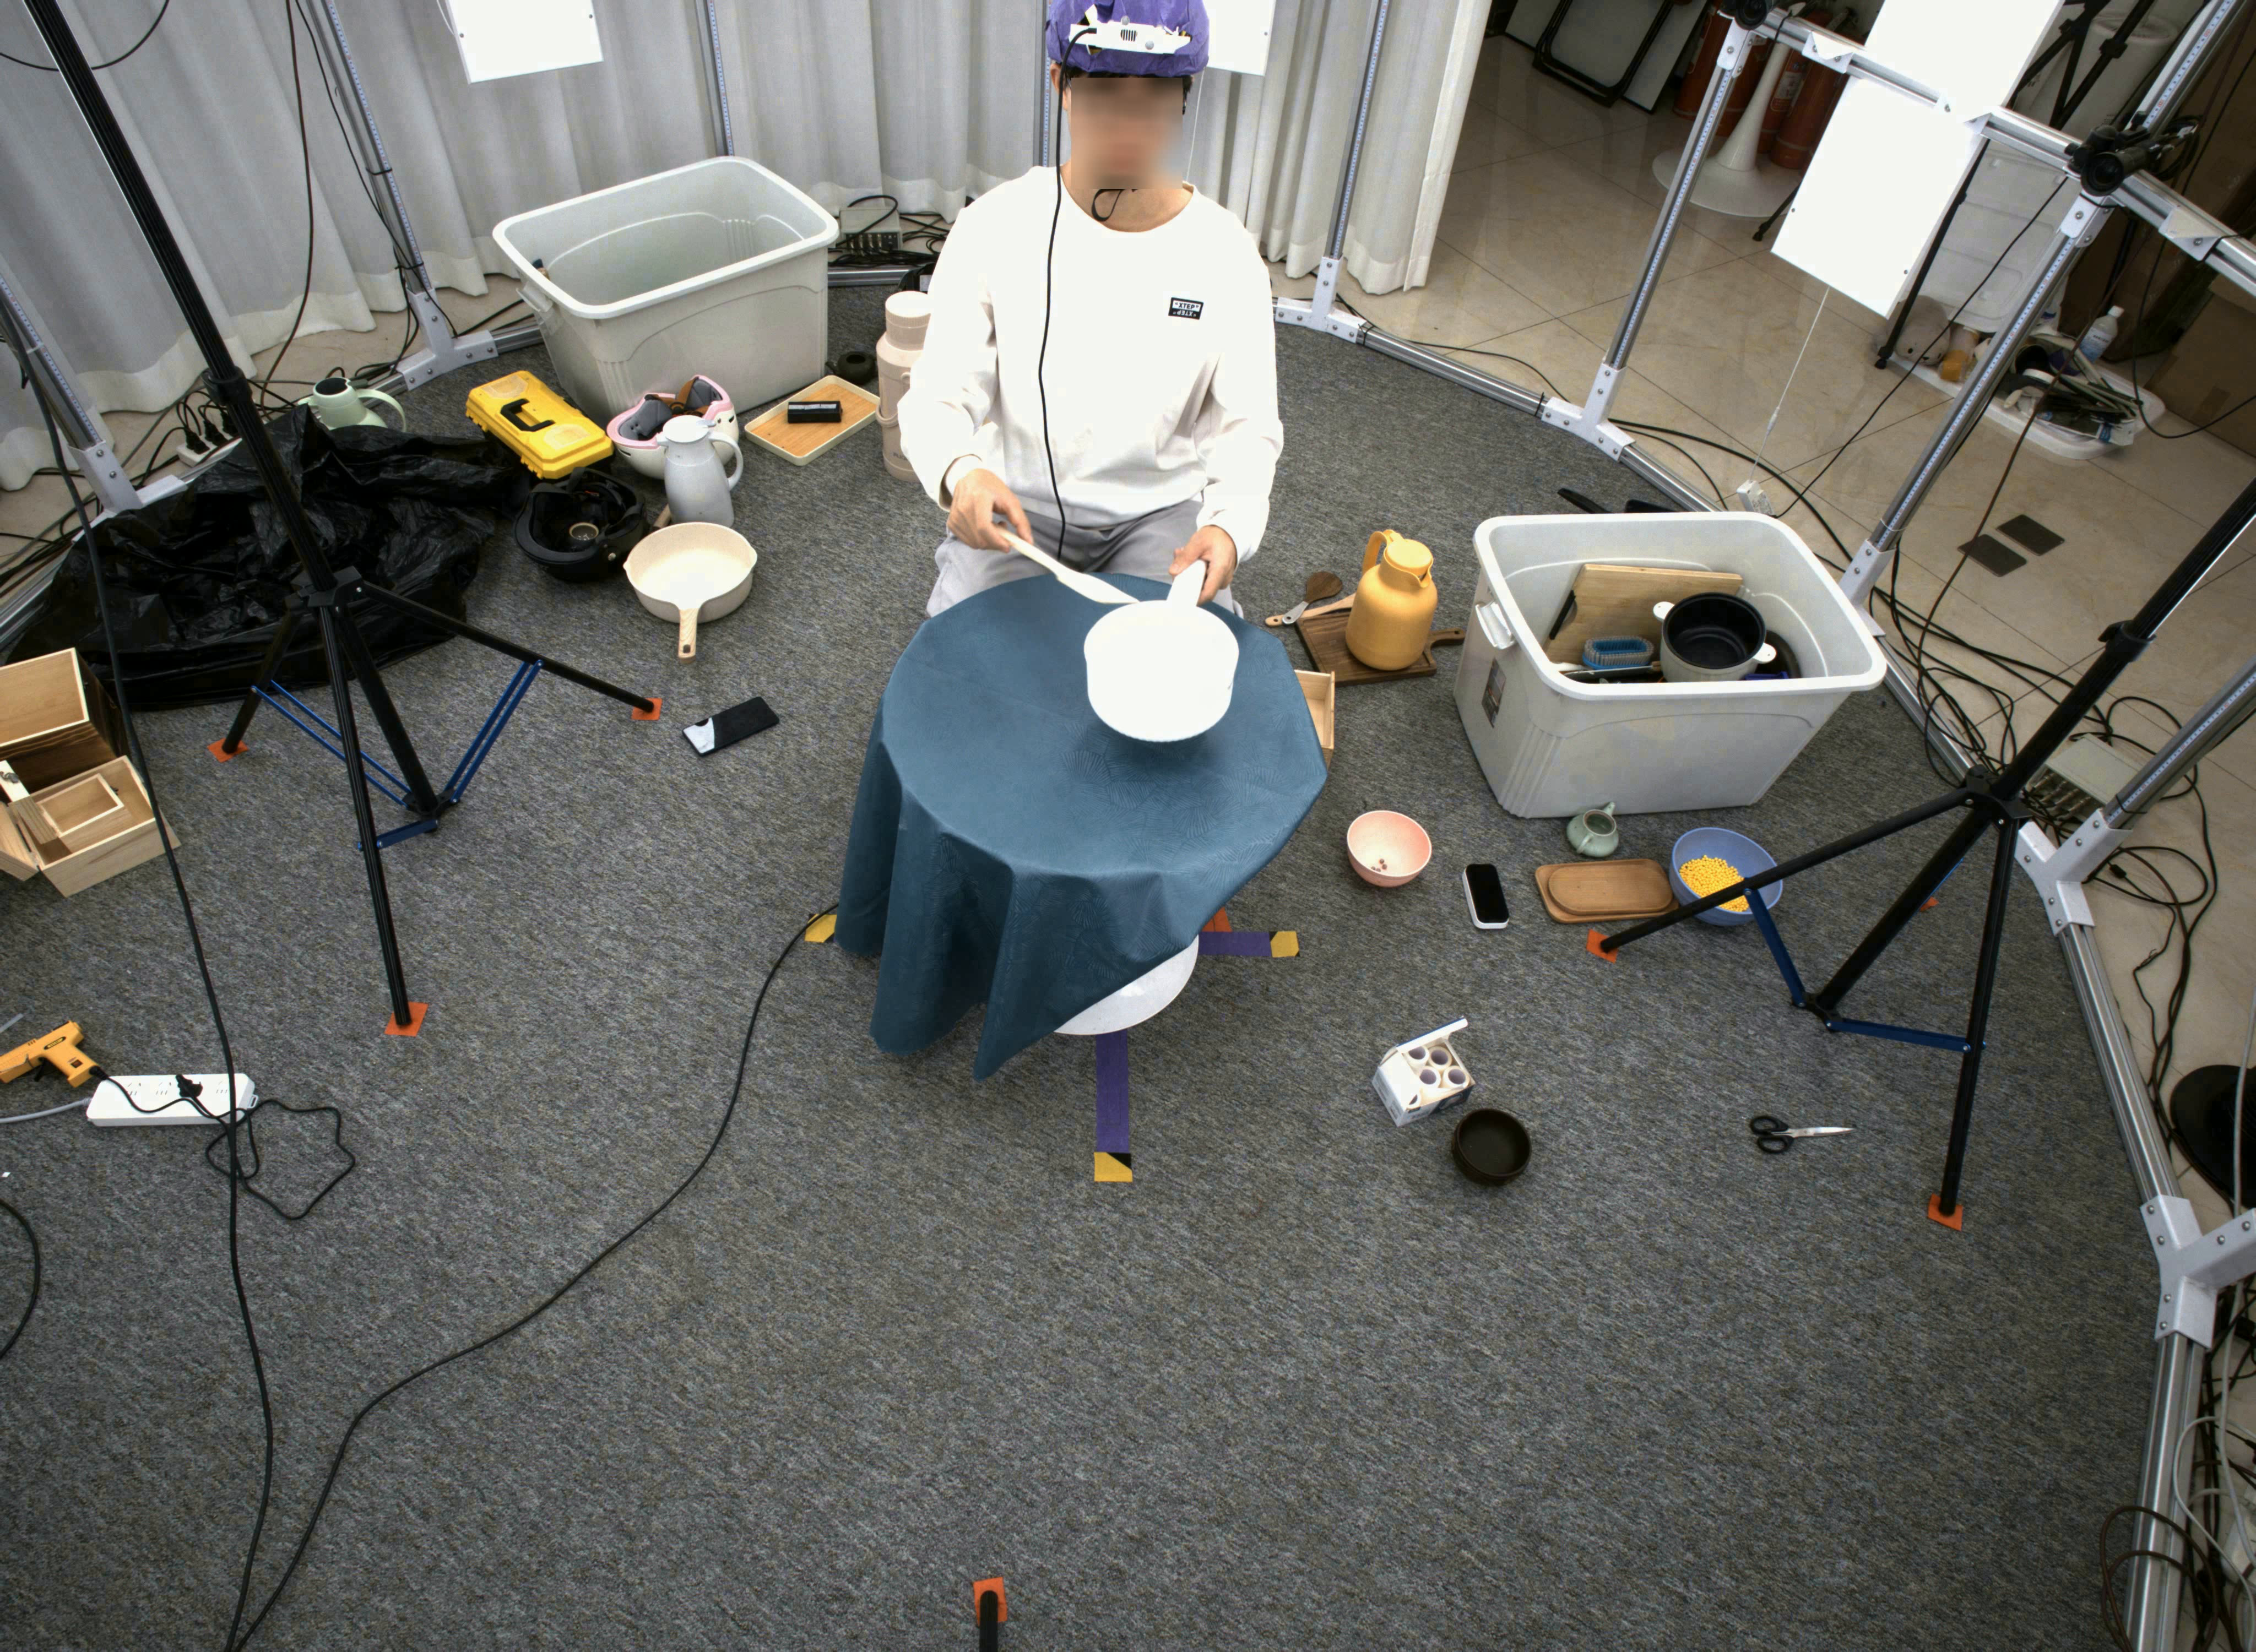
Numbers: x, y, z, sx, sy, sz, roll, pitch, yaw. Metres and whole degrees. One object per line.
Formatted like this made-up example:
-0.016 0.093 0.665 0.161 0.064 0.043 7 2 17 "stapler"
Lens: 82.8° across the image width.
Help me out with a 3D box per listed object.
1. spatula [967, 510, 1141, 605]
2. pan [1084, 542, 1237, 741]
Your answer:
-0.107 -0.346 1.656 0.297 0.010 0.072 36 29 30 "spatula"
0.062 -0.255 1.761 0.202 0.099 0.362 9 44 11 "pan"
